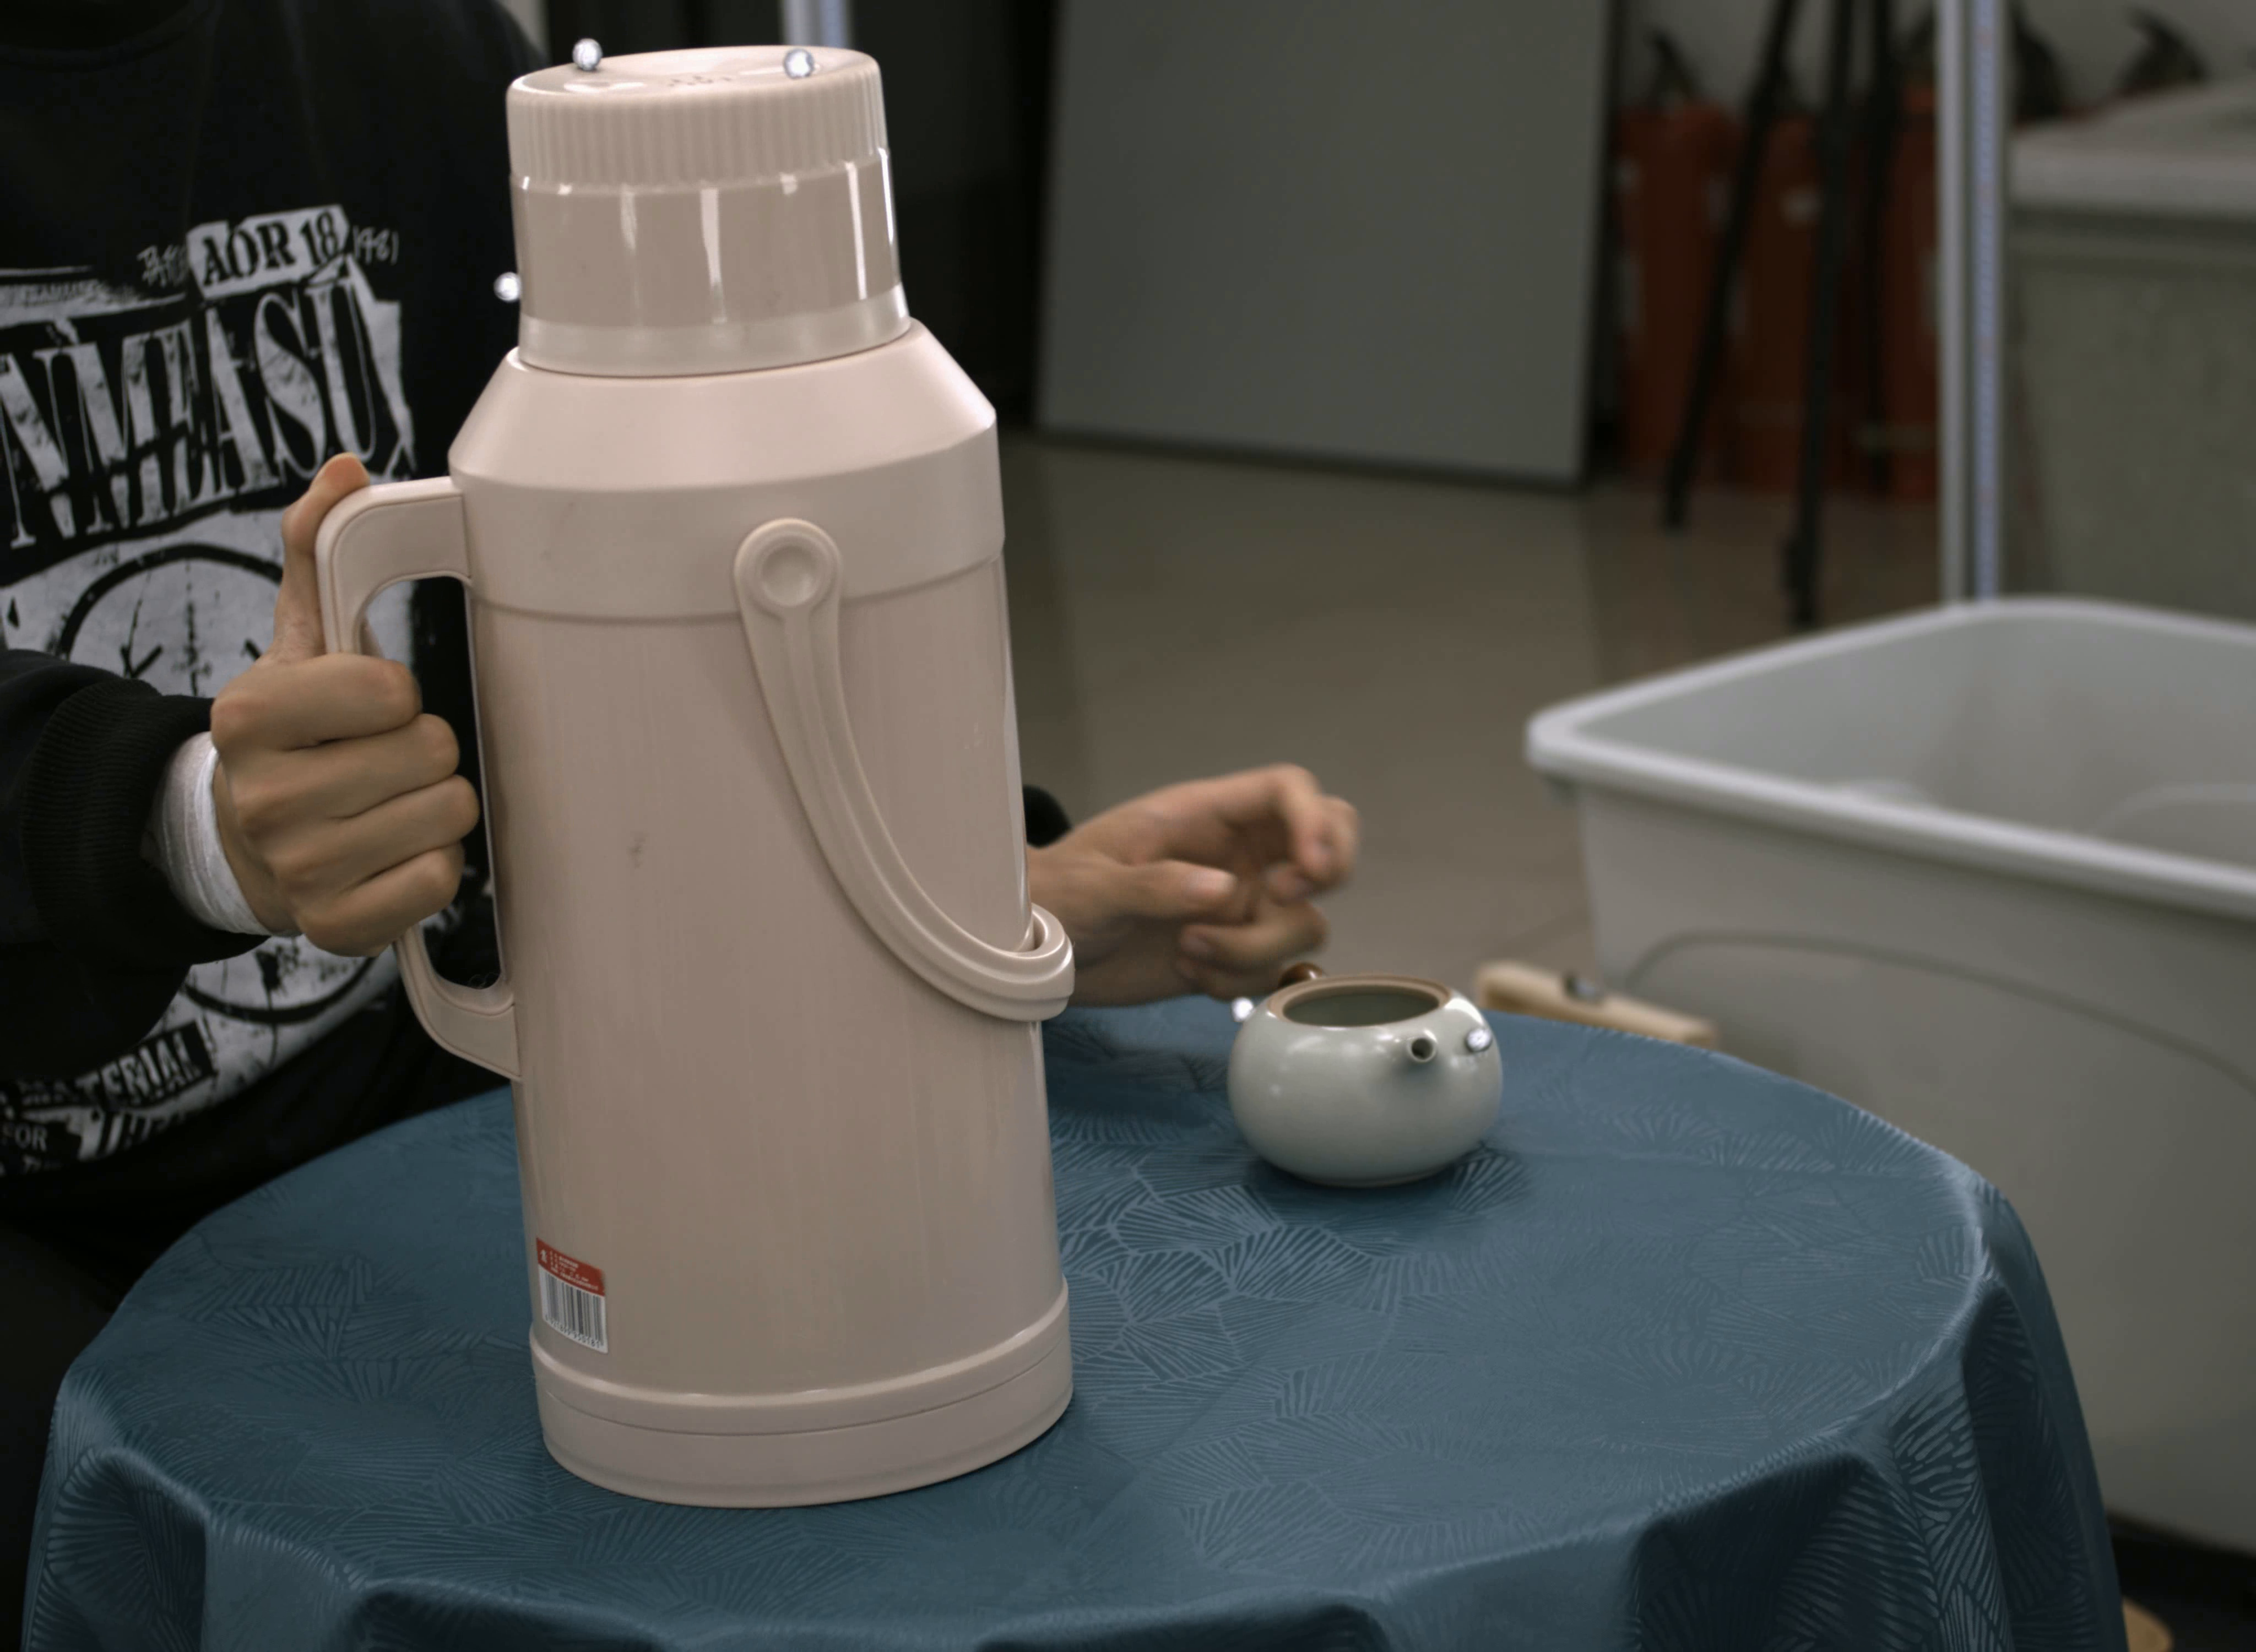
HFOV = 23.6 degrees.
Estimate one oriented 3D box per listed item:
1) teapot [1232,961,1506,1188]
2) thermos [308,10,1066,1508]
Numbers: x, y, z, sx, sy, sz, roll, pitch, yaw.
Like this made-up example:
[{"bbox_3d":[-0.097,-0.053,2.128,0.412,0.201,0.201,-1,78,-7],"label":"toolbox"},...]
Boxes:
[{"bbox_3d":[0.076,0.081,1.788,0.090,0.060,0.129,-13,16,-19],"label":"teapot"},{"bbox_3d":[-0.123,-0.019,1.546,0.203,0.410,0.177,-7,16,-14],"label":"thermos"}]
